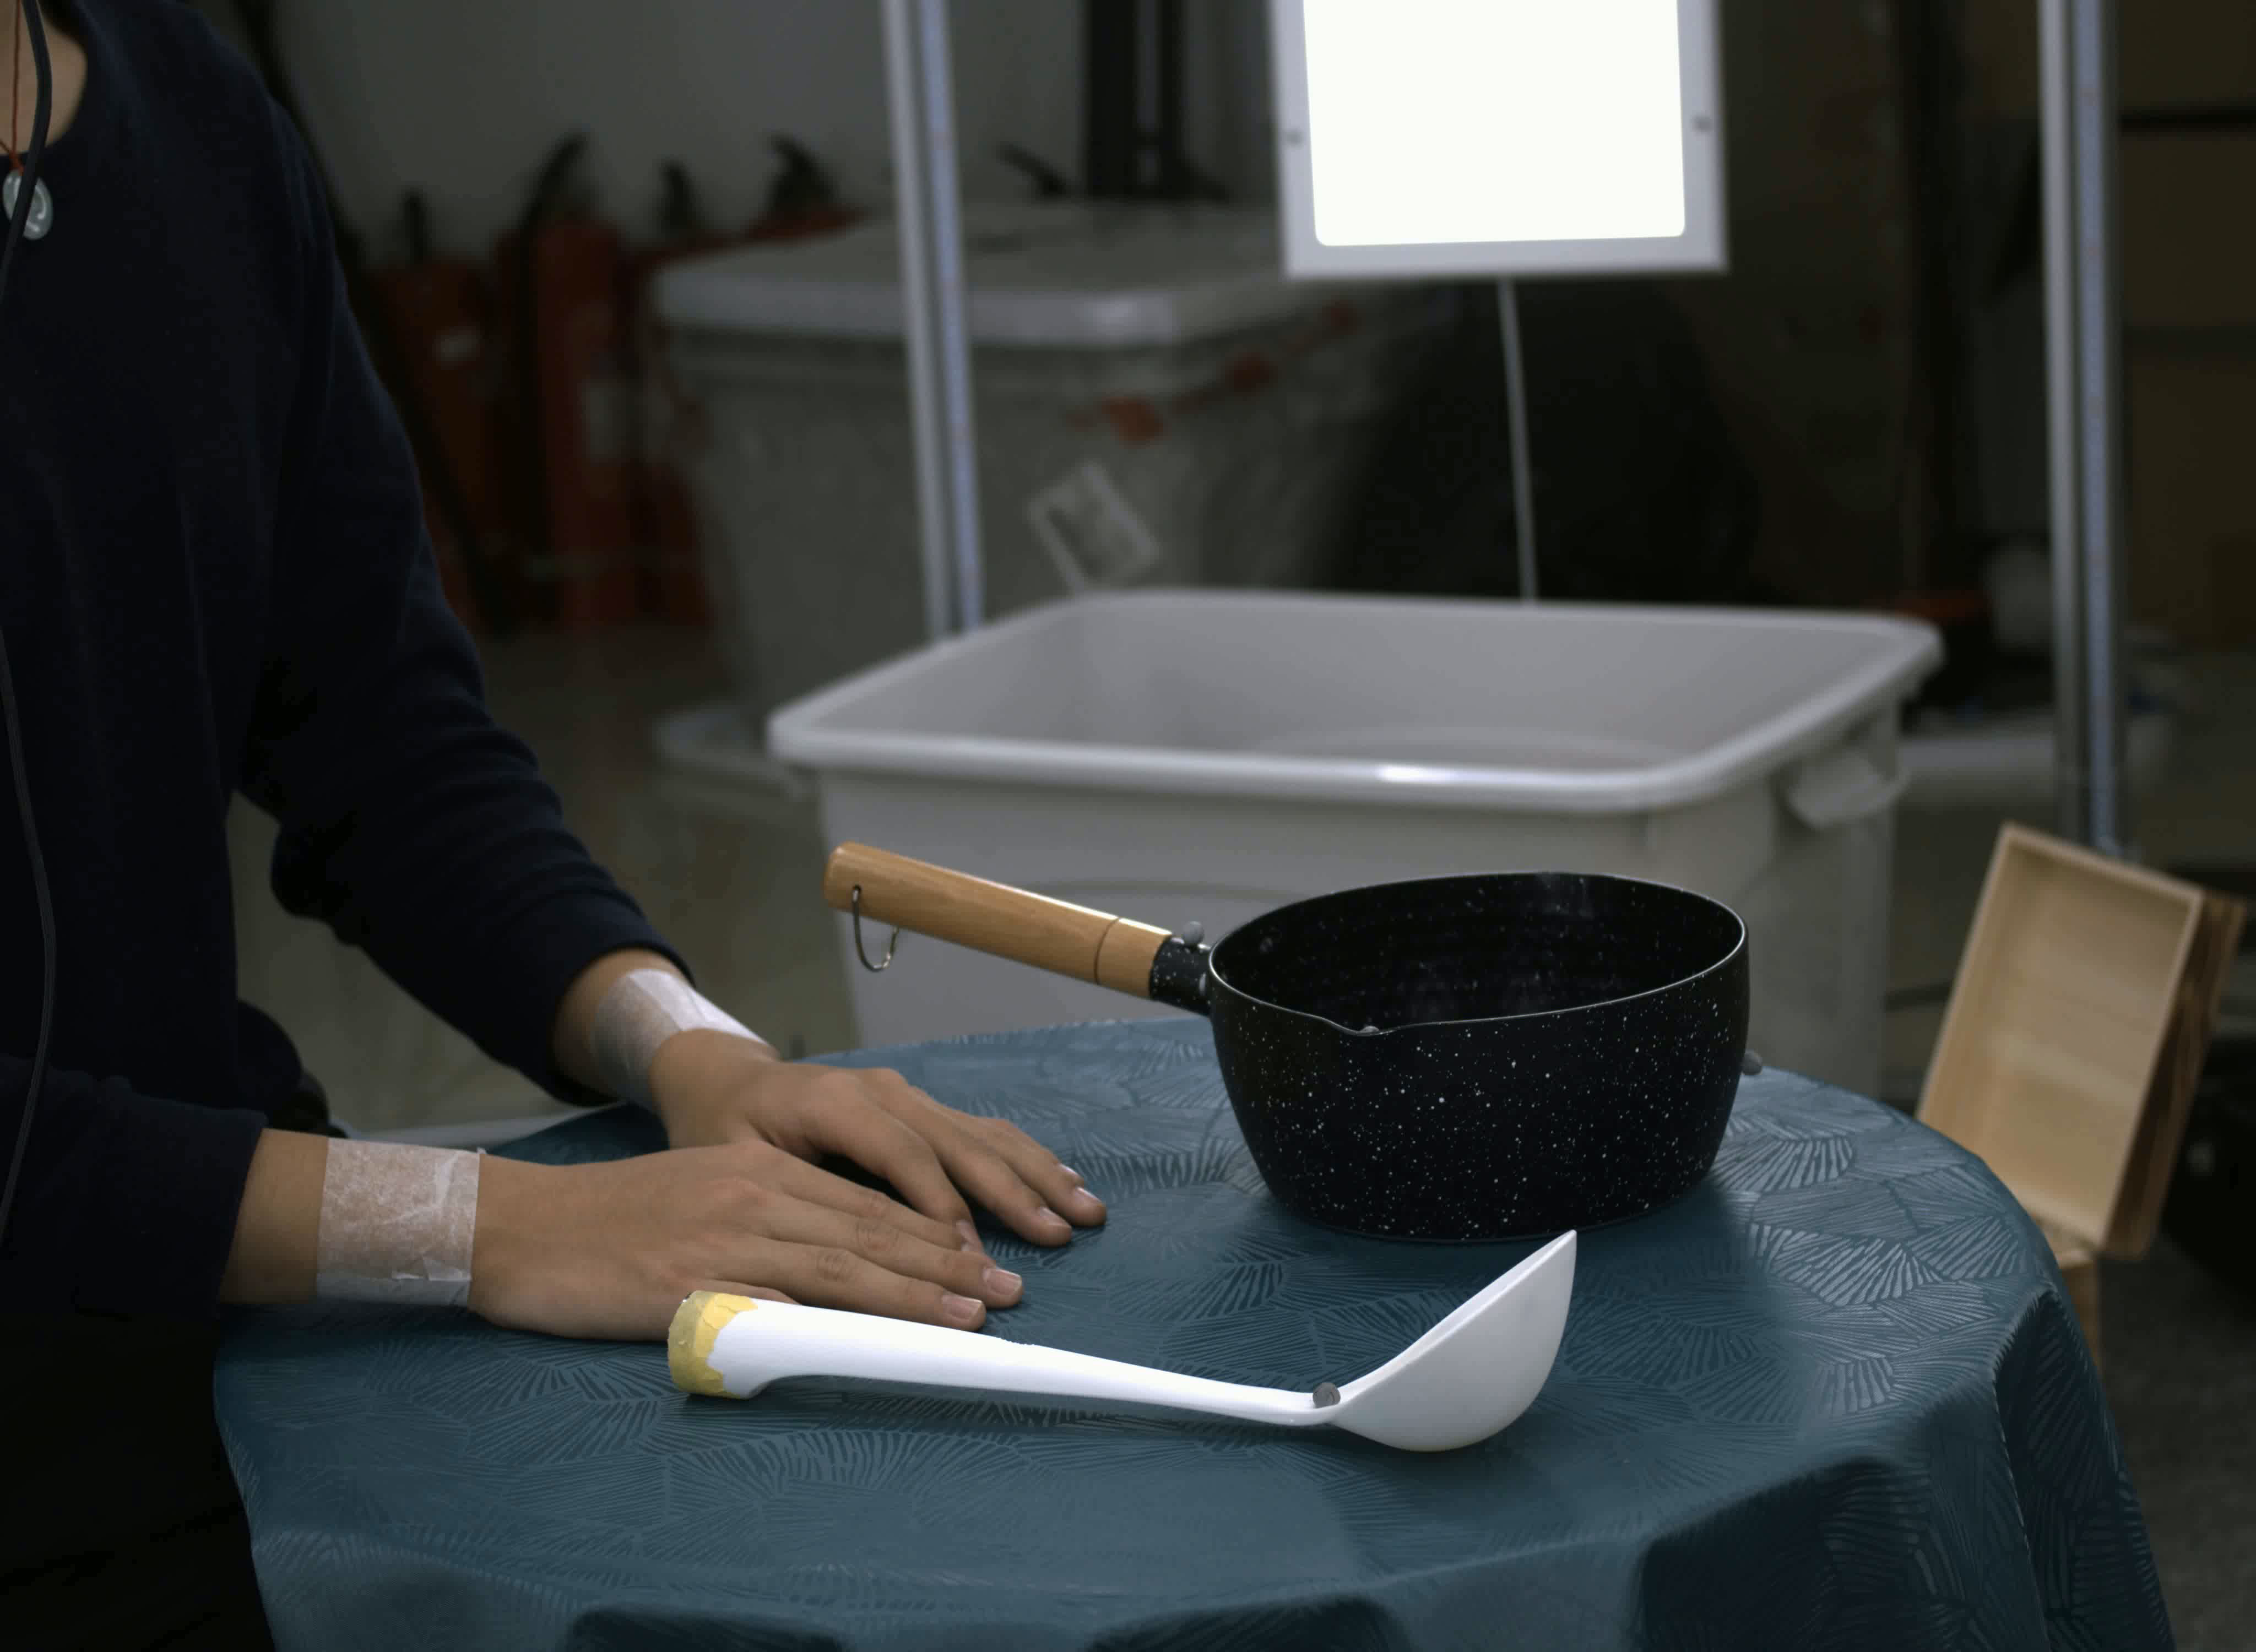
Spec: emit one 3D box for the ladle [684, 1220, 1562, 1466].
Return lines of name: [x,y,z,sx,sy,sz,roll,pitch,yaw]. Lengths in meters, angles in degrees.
ladle: [-0.005,0.156,1.668,0.298,0.070,0.088,0,19,28]

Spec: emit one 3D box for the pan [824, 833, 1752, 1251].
pan: [0.049,0.065,1.901,0.348,0.108,0.203,3,17,26]
